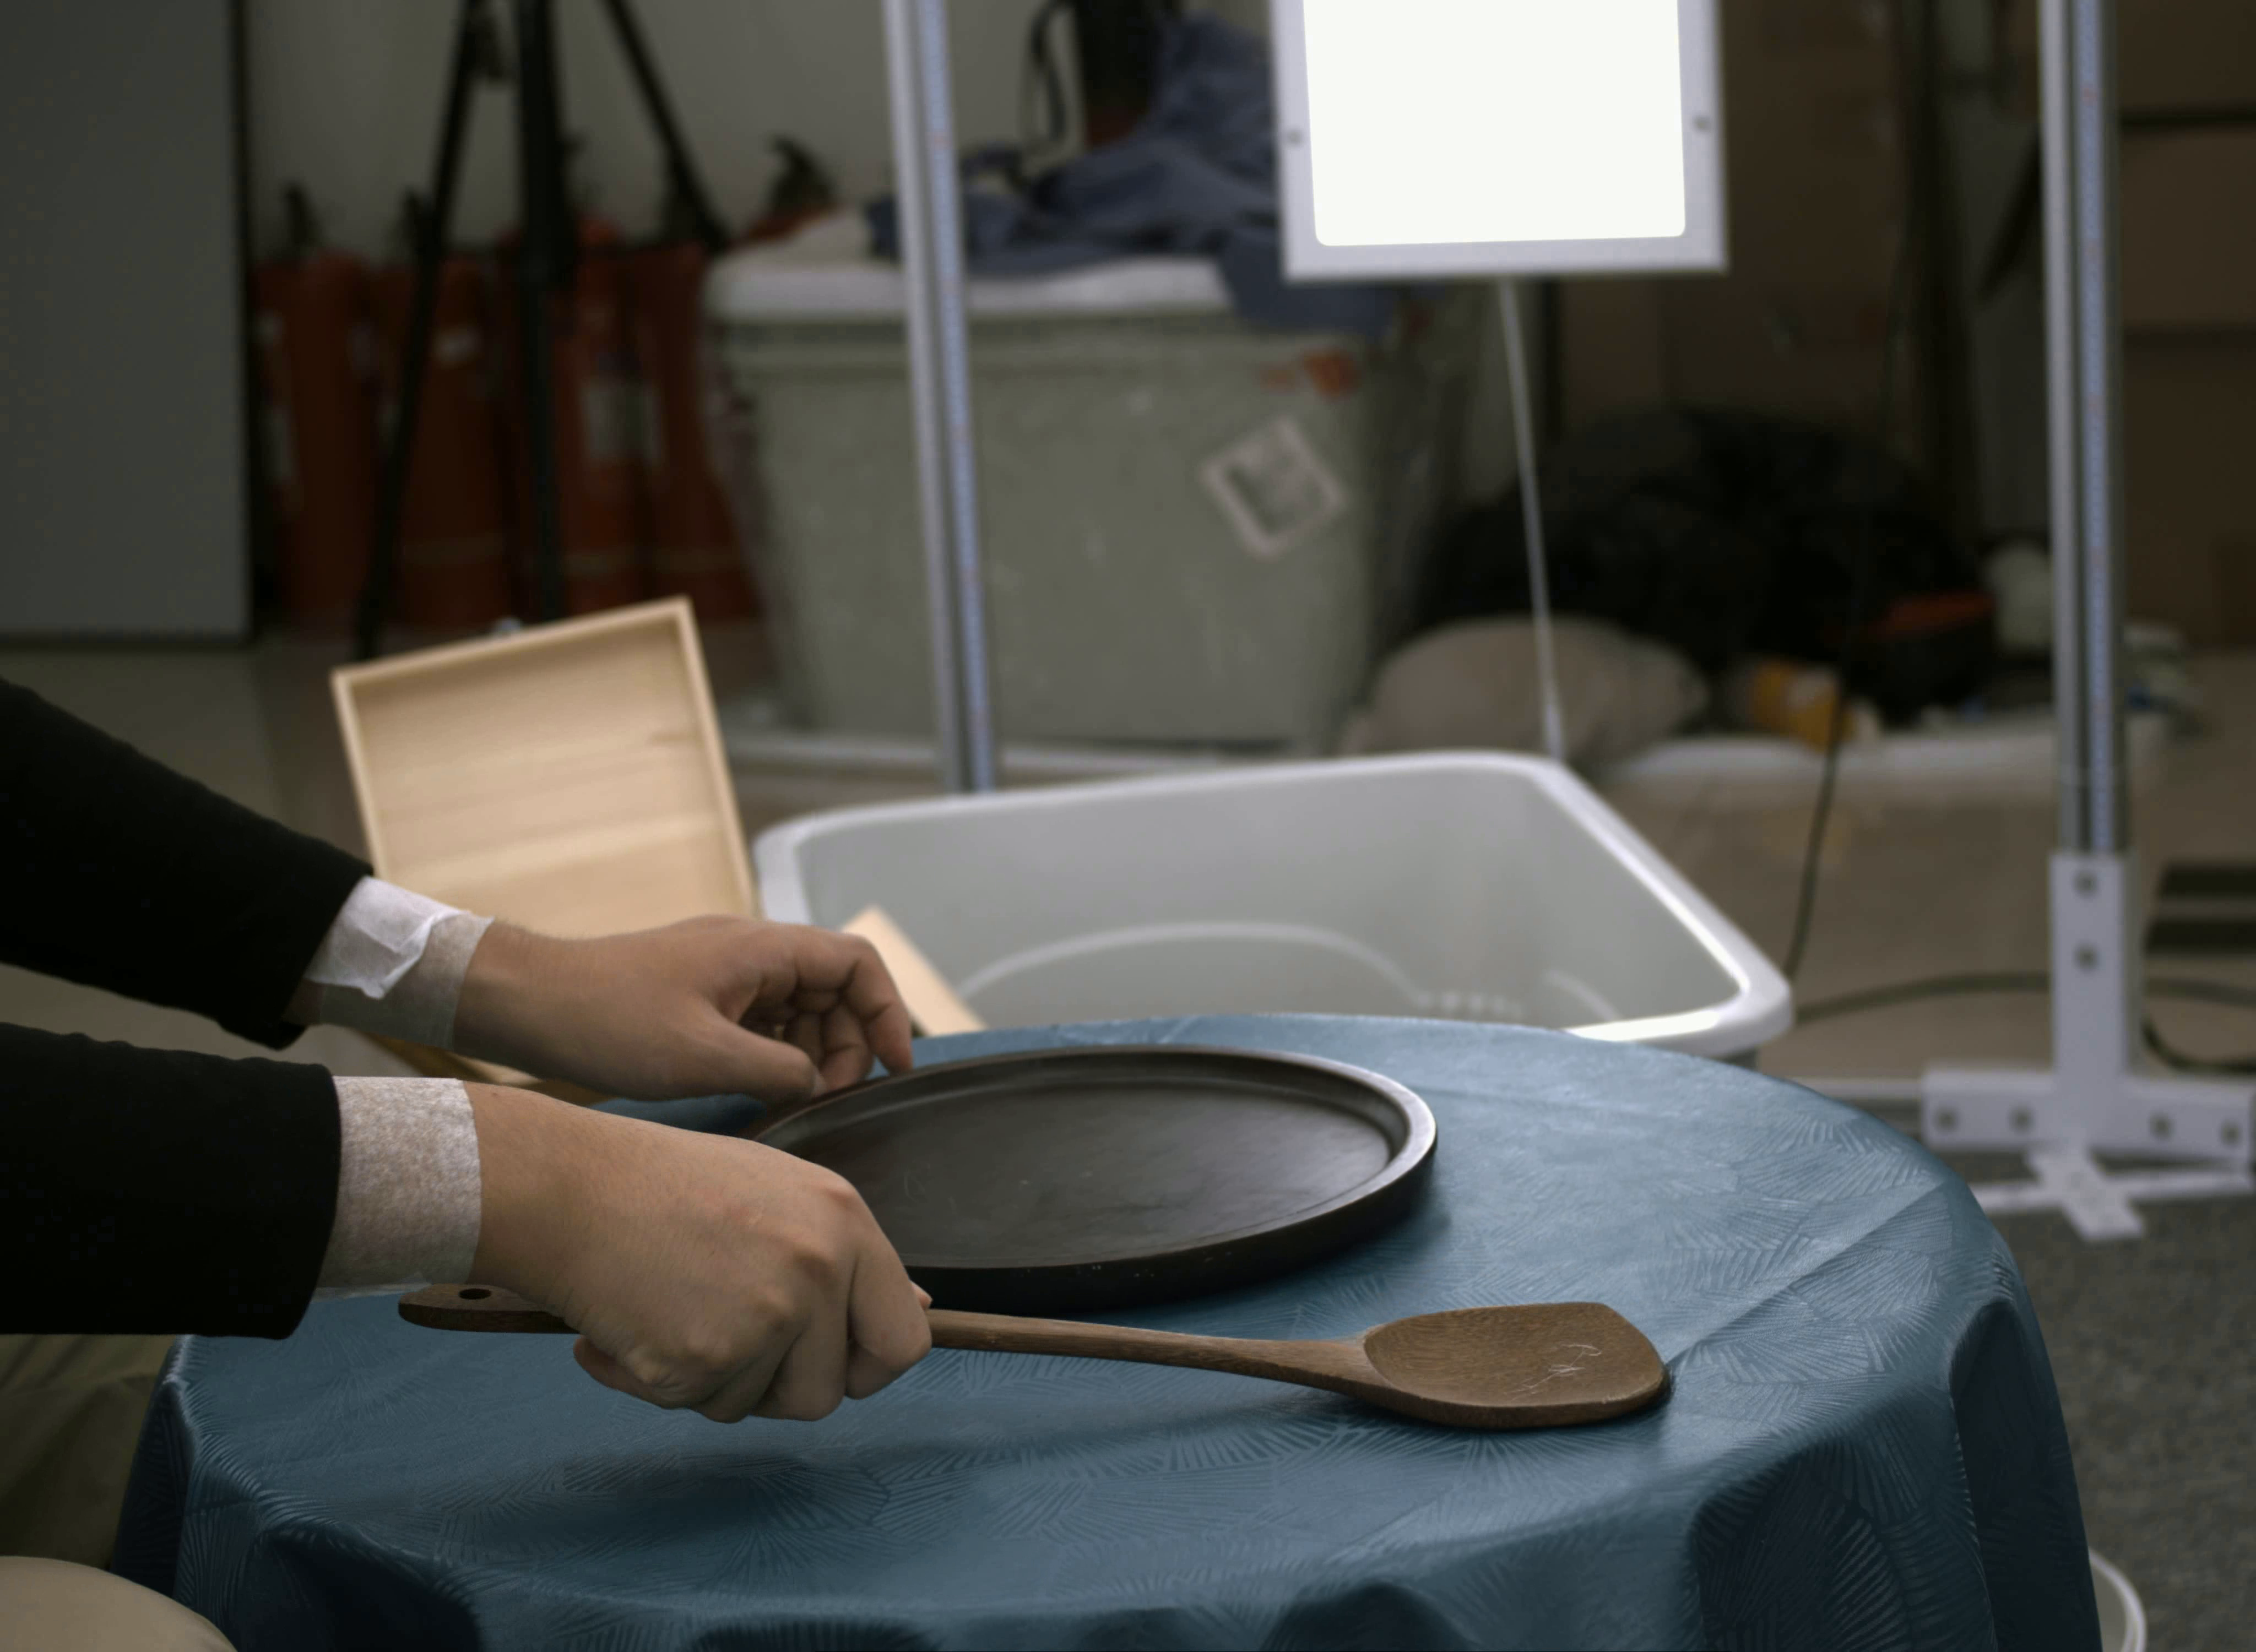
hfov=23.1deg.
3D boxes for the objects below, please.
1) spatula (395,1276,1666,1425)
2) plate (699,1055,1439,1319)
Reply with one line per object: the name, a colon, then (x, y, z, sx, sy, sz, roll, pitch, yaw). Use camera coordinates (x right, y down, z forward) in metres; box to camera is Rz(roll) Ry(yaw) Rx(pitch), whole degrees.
spatula: (-0.028, 0.155, 1.667, 0.384, 0.016, 0.096, 4, 12, -3)
plate: (-0.020, 0.121, 1.884, 0.254, 0.029, 0.254, -4, 15, 0)
